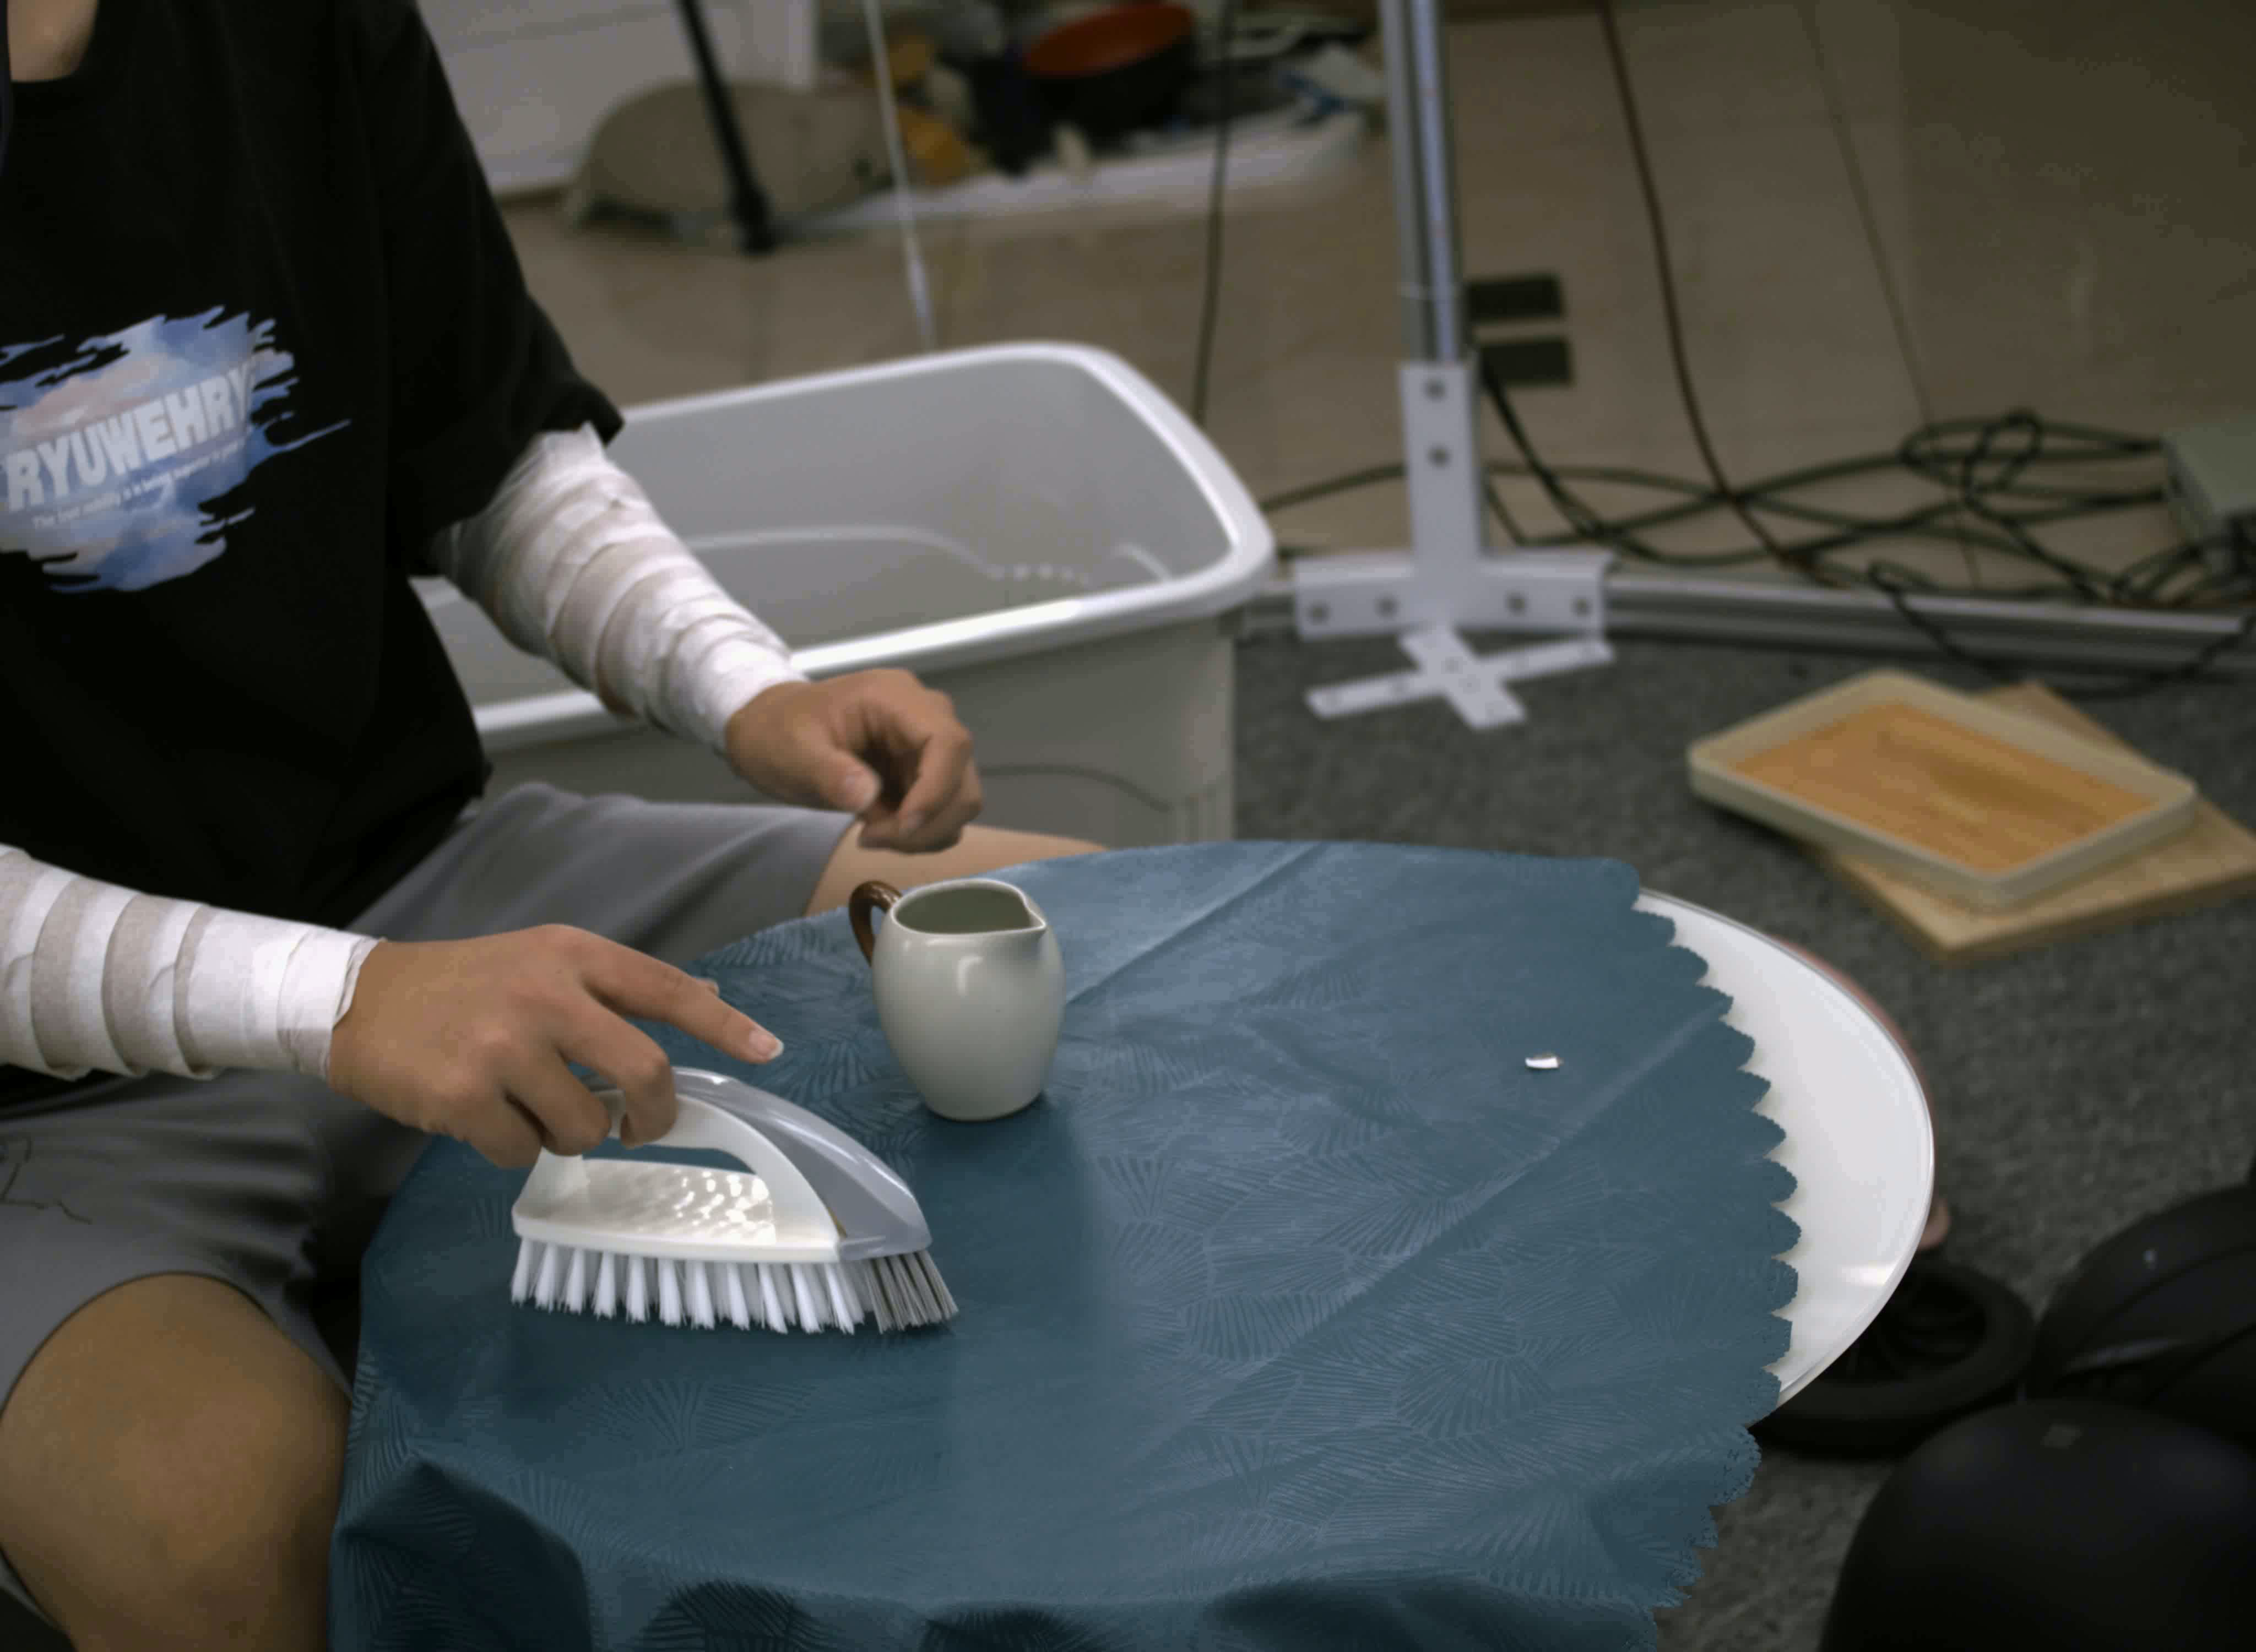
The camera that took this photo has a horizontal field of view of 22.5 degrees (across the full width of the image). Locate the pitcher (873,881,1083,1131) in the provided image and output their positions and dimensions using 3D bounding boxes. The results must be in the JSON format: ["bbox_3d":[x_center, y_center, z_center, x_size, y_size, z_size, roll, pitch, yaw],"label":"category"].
[{"bbox_3d":[-0.060,0.068,2.213,0.075,0.089,0.118,-21,30,-35],"label":"pitcher"}]

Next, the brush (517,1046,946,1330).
[{"bbox_3d":[-0.146,0.130,2.088,0.174,0.096,0.060,11,32,25],"label":"brush"}]
